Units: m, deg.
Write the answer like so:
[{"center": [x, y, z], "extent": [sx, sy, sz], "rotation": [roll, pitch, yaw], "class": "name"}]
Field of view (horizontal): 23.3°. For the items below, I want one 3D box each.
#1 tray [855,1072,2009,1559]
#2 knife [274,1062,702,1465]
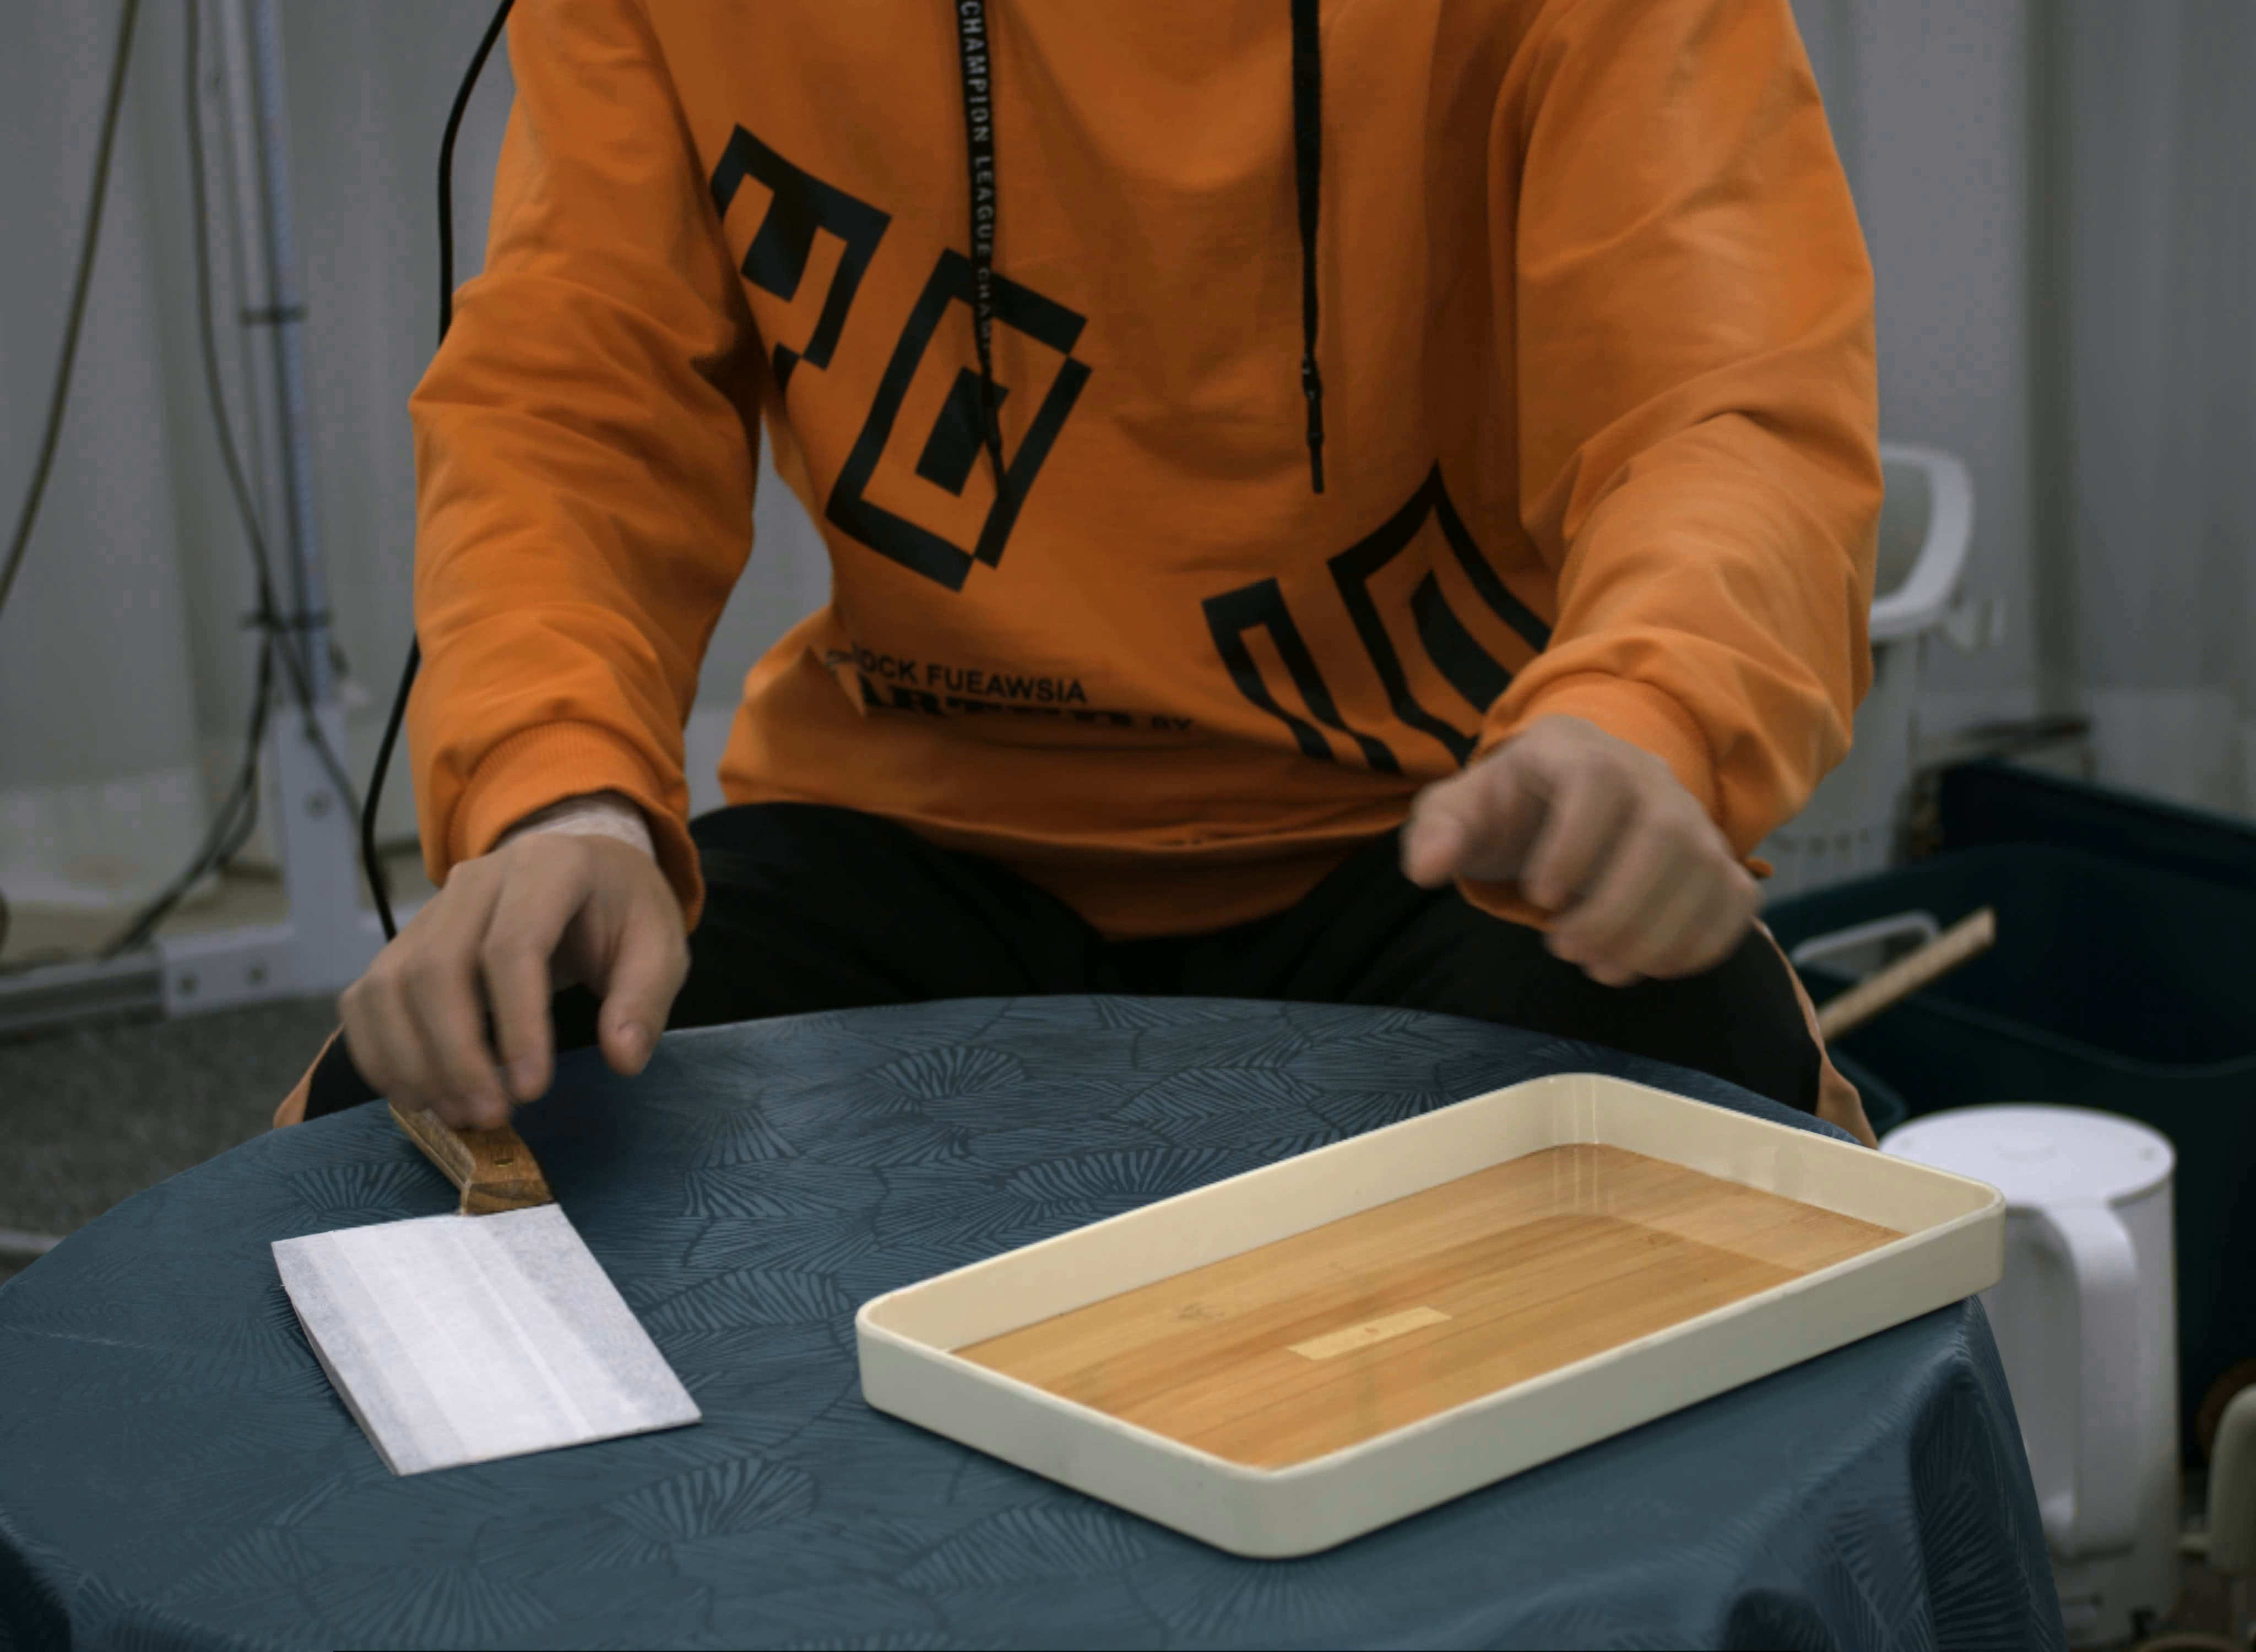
[{"center": [0.090, 0.135, 1.569], "extent": [0.299, 0.027, 0.193], "rotation": [-15, 19, -38], "class": "tray"}, {"center": [-0.208, 0.132, 1.663], "extent": [0.092, 0.021, 0.308], "rotation": [-9, 18, -17], "class": "knife"}]
